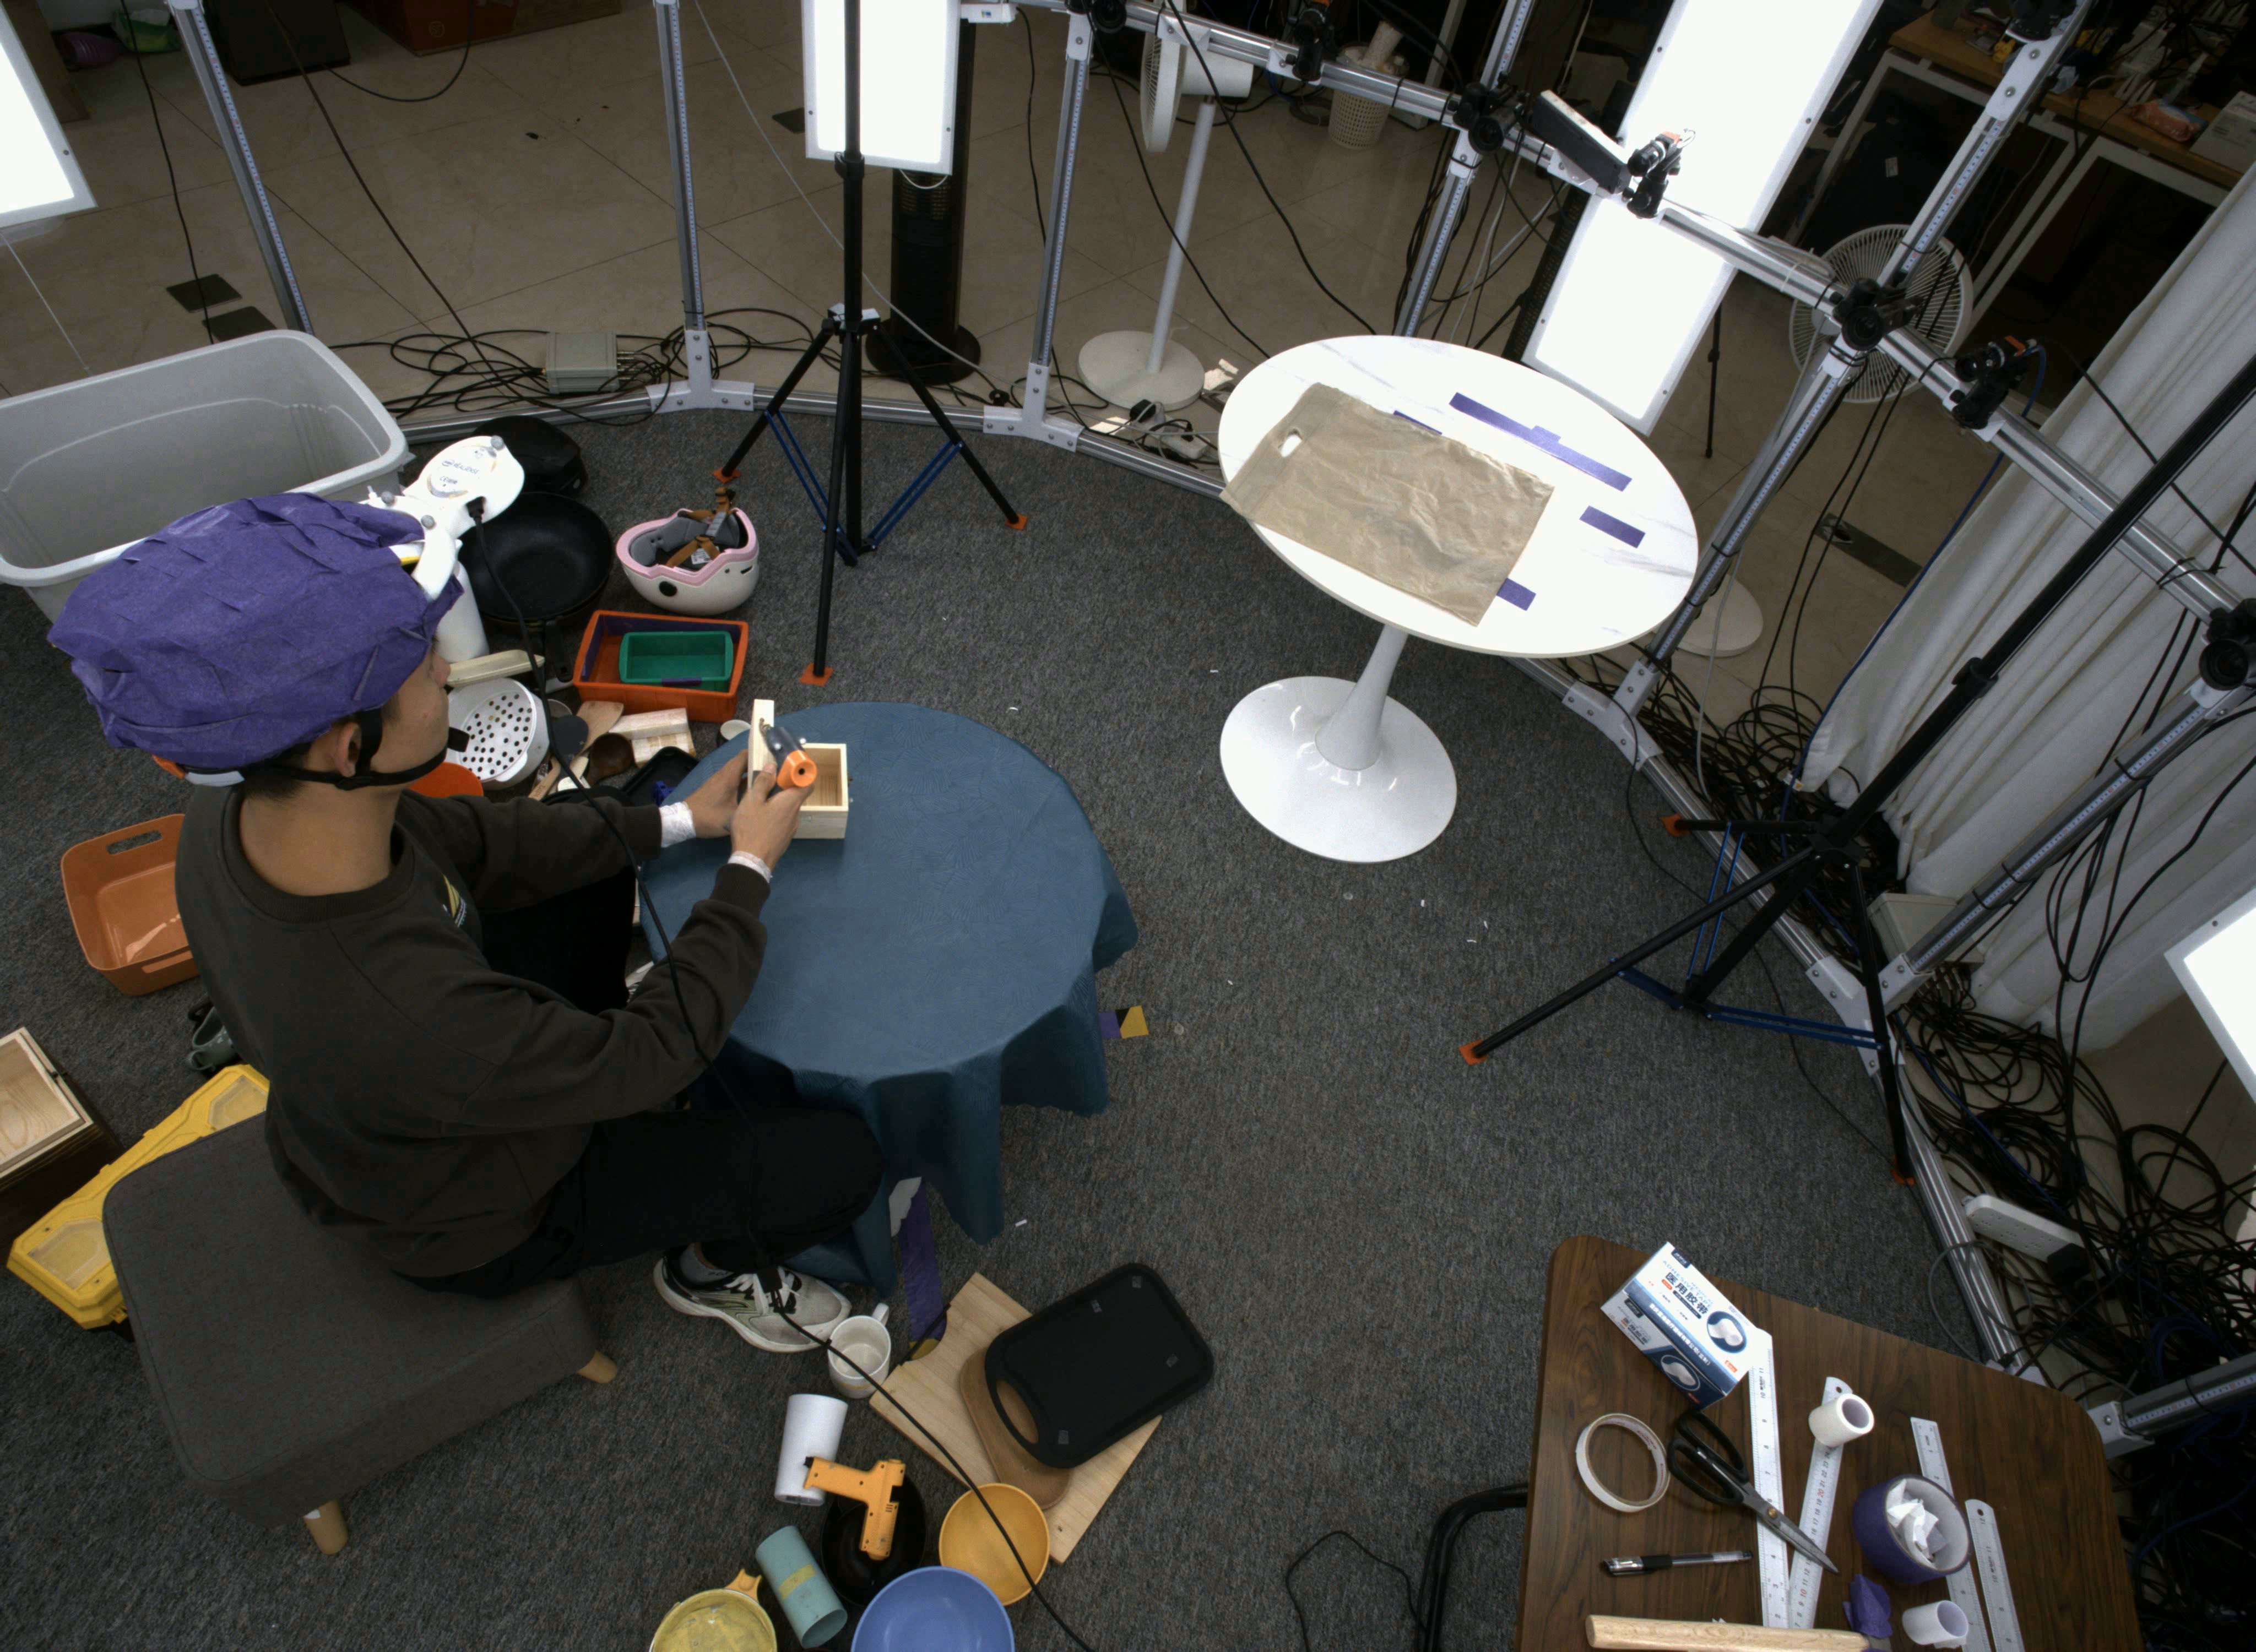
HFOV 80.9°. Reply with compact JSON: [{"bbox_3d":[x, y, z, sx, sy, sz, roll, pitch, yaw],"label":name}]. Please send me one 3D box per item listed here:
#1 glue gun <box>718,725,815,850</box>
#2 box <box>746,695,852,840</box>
[{"bbox_3d":[-0.415,-0.049,1.492,0.113,0.042,0.140,18,77,49],"label":"glue gun"},{"bbox_3d":[-0.417,-0.072,1.644,0.134,0.186,0.101,-1,62,-17],"label":"box"}]
